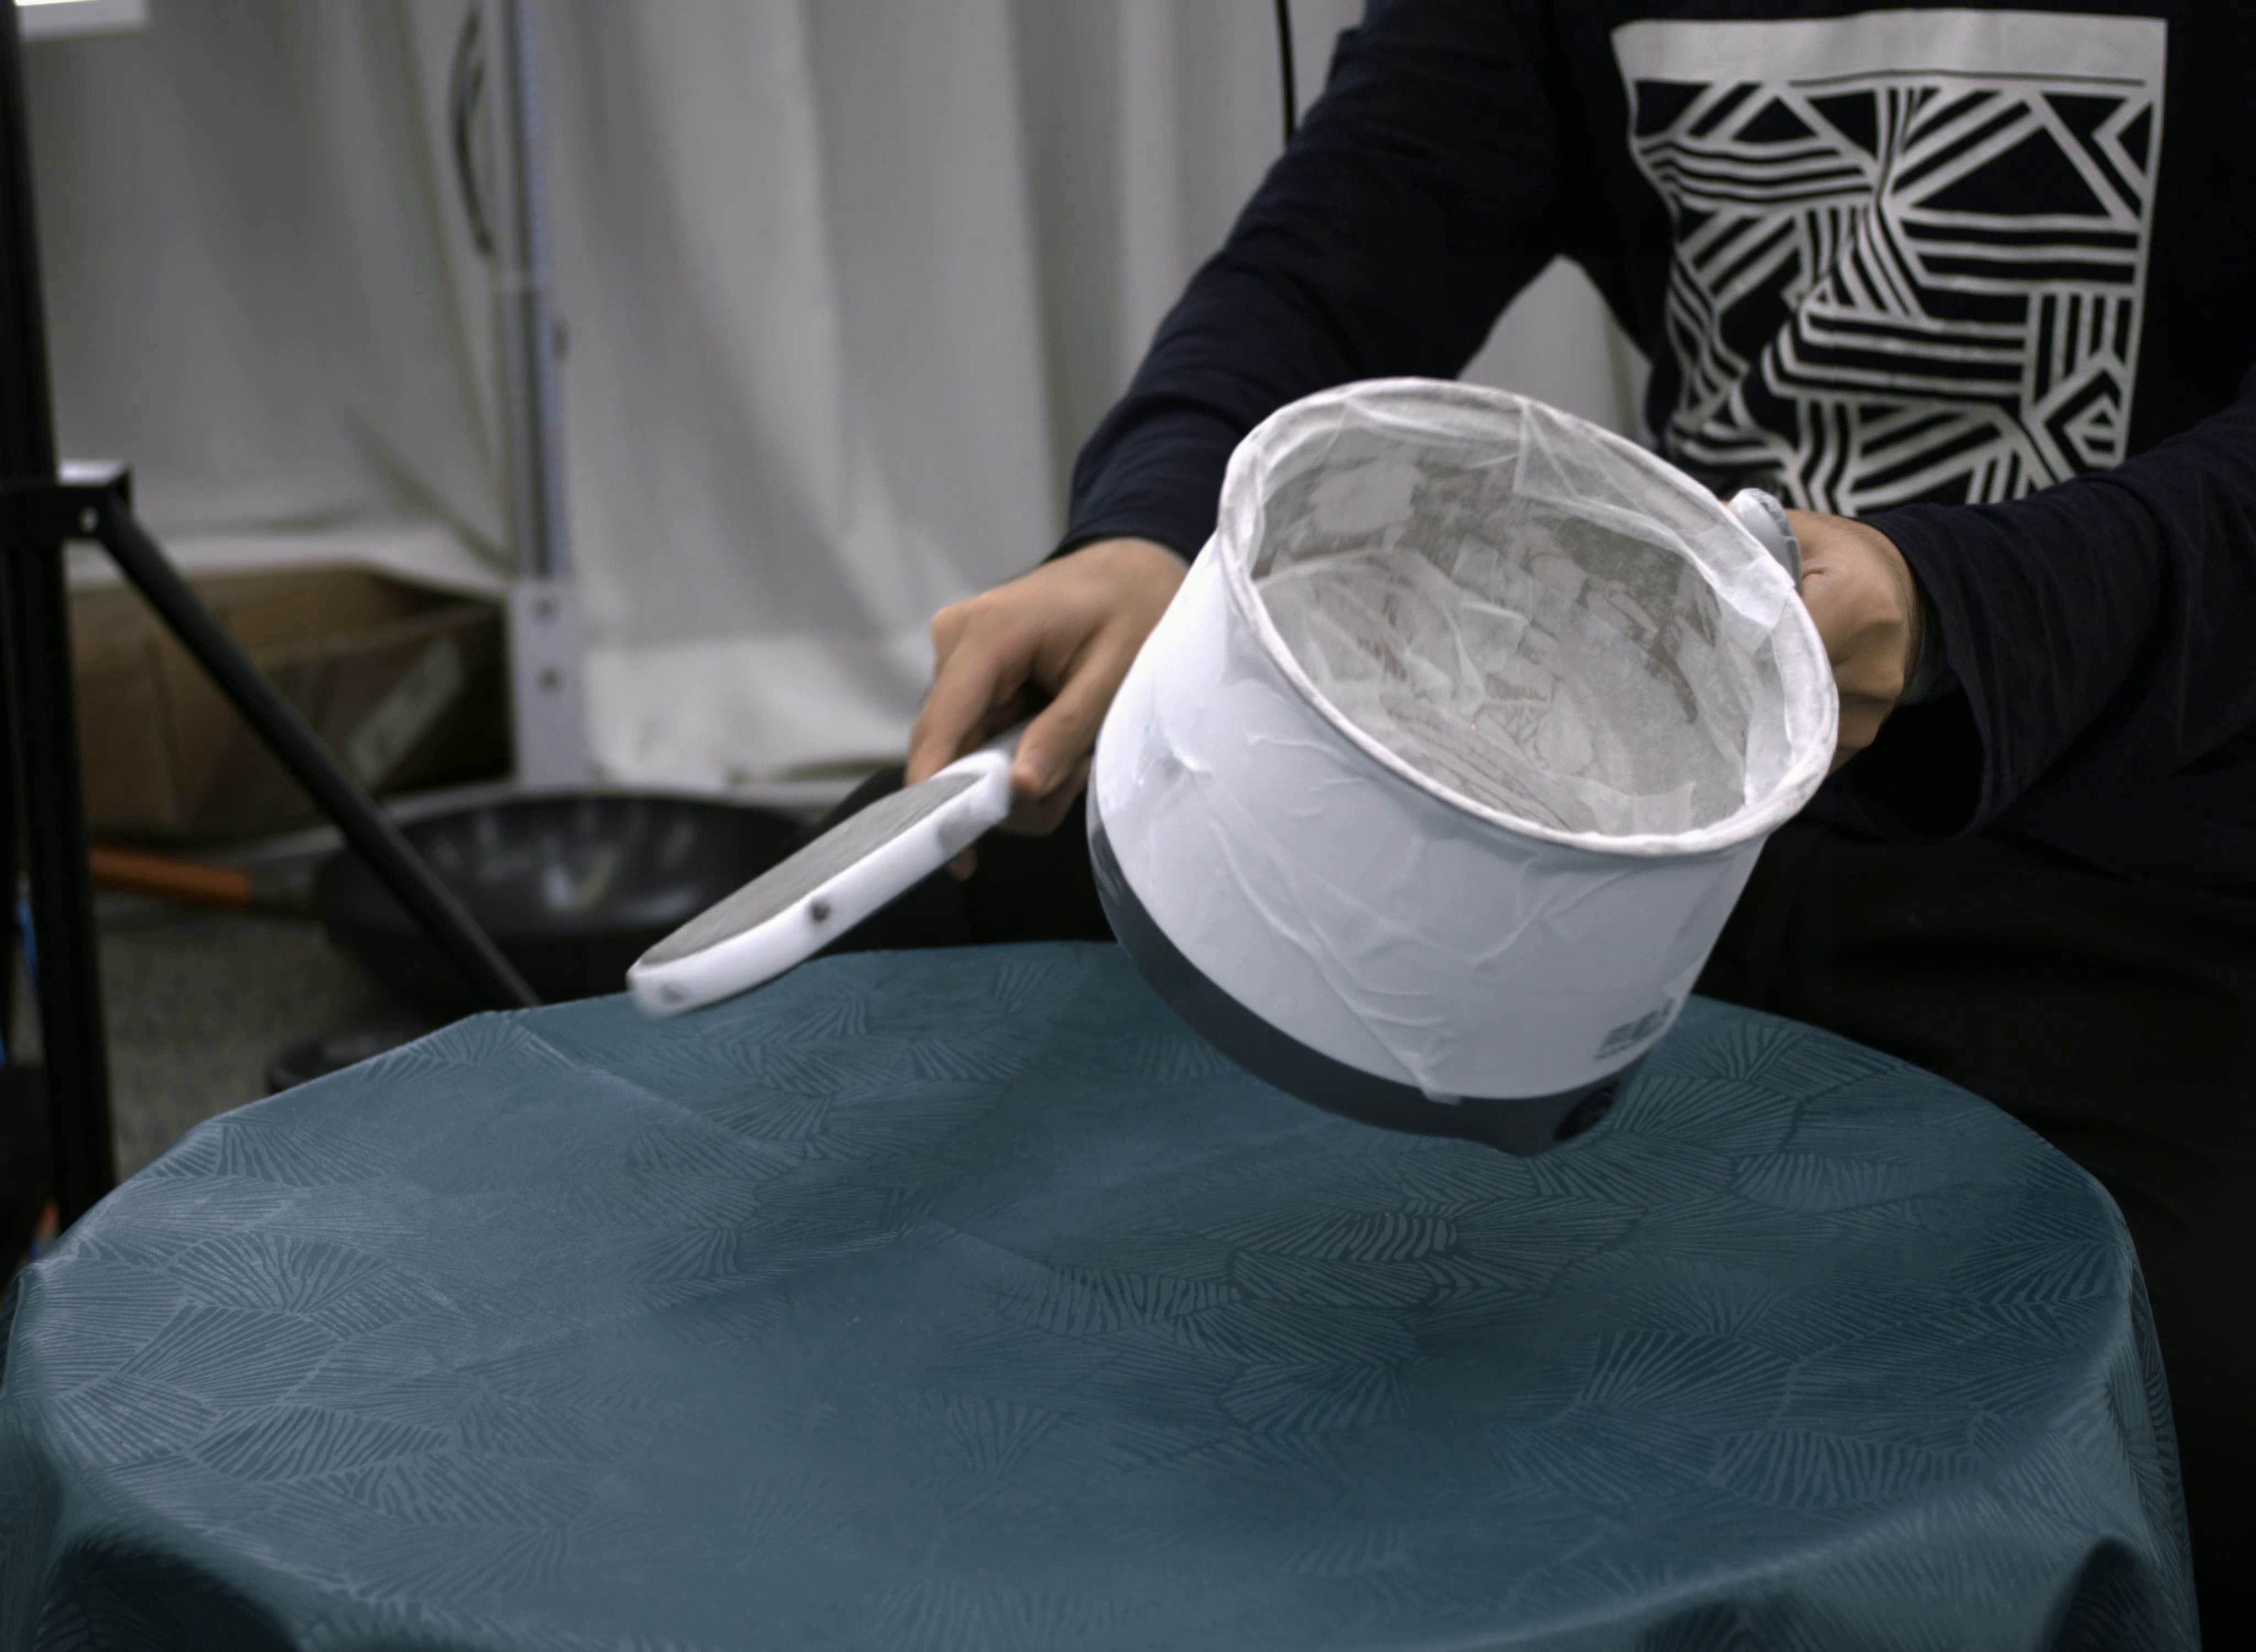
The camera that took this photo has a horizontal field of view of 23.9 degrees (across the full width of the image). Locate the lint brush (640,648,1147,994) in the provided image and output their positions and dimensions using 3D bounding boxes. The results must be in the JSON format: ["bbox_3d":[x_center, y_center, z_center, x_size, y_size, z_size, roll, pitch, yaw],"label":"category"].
[{"bbox_3d":[-0.061,-0.006,1.643,0.061,0.021,0.304,-23,7,30],"label":"lint brush"}]

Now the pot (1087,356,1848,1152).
[{"bbox_3d":[0.105,-0.026,1.448,0.229,0.137,0.181,-24,64,-40],"label":"pot"}]
